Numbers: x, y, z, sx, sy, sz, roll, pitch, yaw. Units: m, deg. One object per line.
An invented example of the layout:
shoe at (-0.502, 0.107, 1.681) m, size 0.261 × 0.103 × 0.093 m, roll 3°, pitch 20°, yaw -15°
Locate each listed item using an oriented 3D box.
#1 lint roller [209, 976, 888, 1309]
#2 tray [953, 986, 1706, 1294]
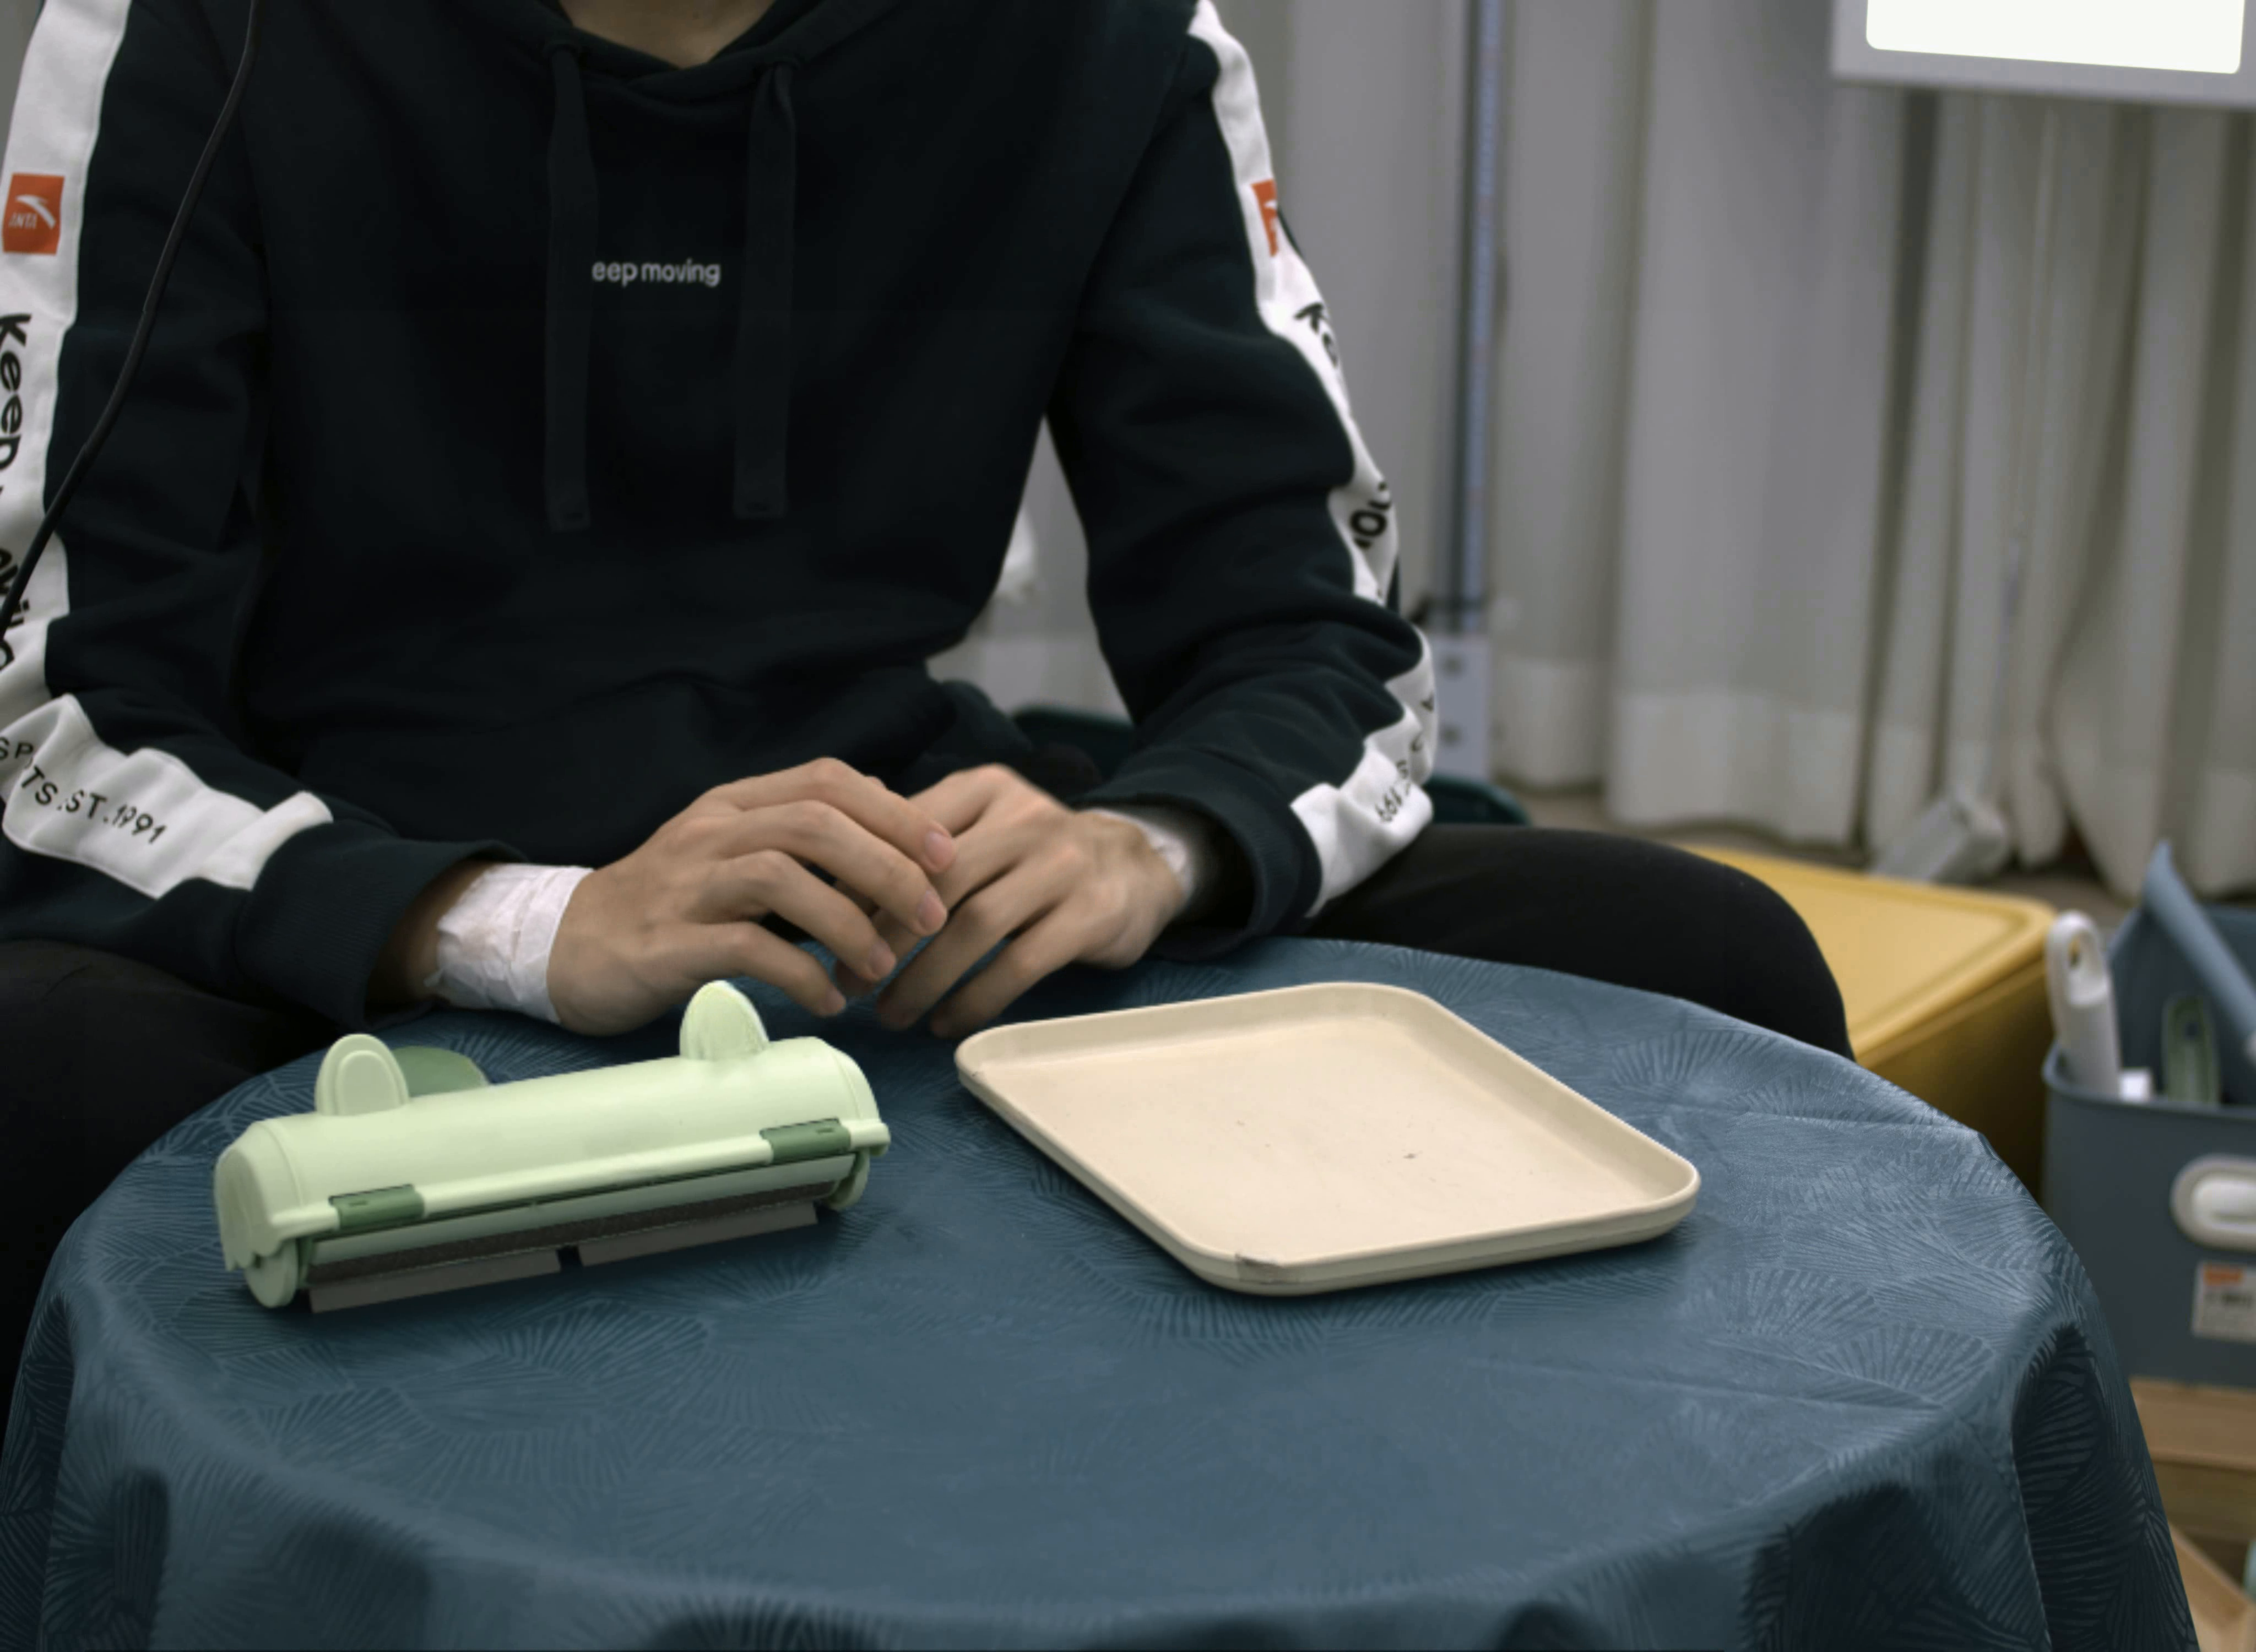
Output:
lint roller at (-0.196, 0.077, 1.594) m, size 0.199 × 0.083 × 0.181 m, roll -8°, pitch 22°, yaw -28°
tray at (0.059, 0.097, 1.645) m, size 0.172 × 0.017 × 0.237 m, roll -6°, pitch 17°, yaw -23°
